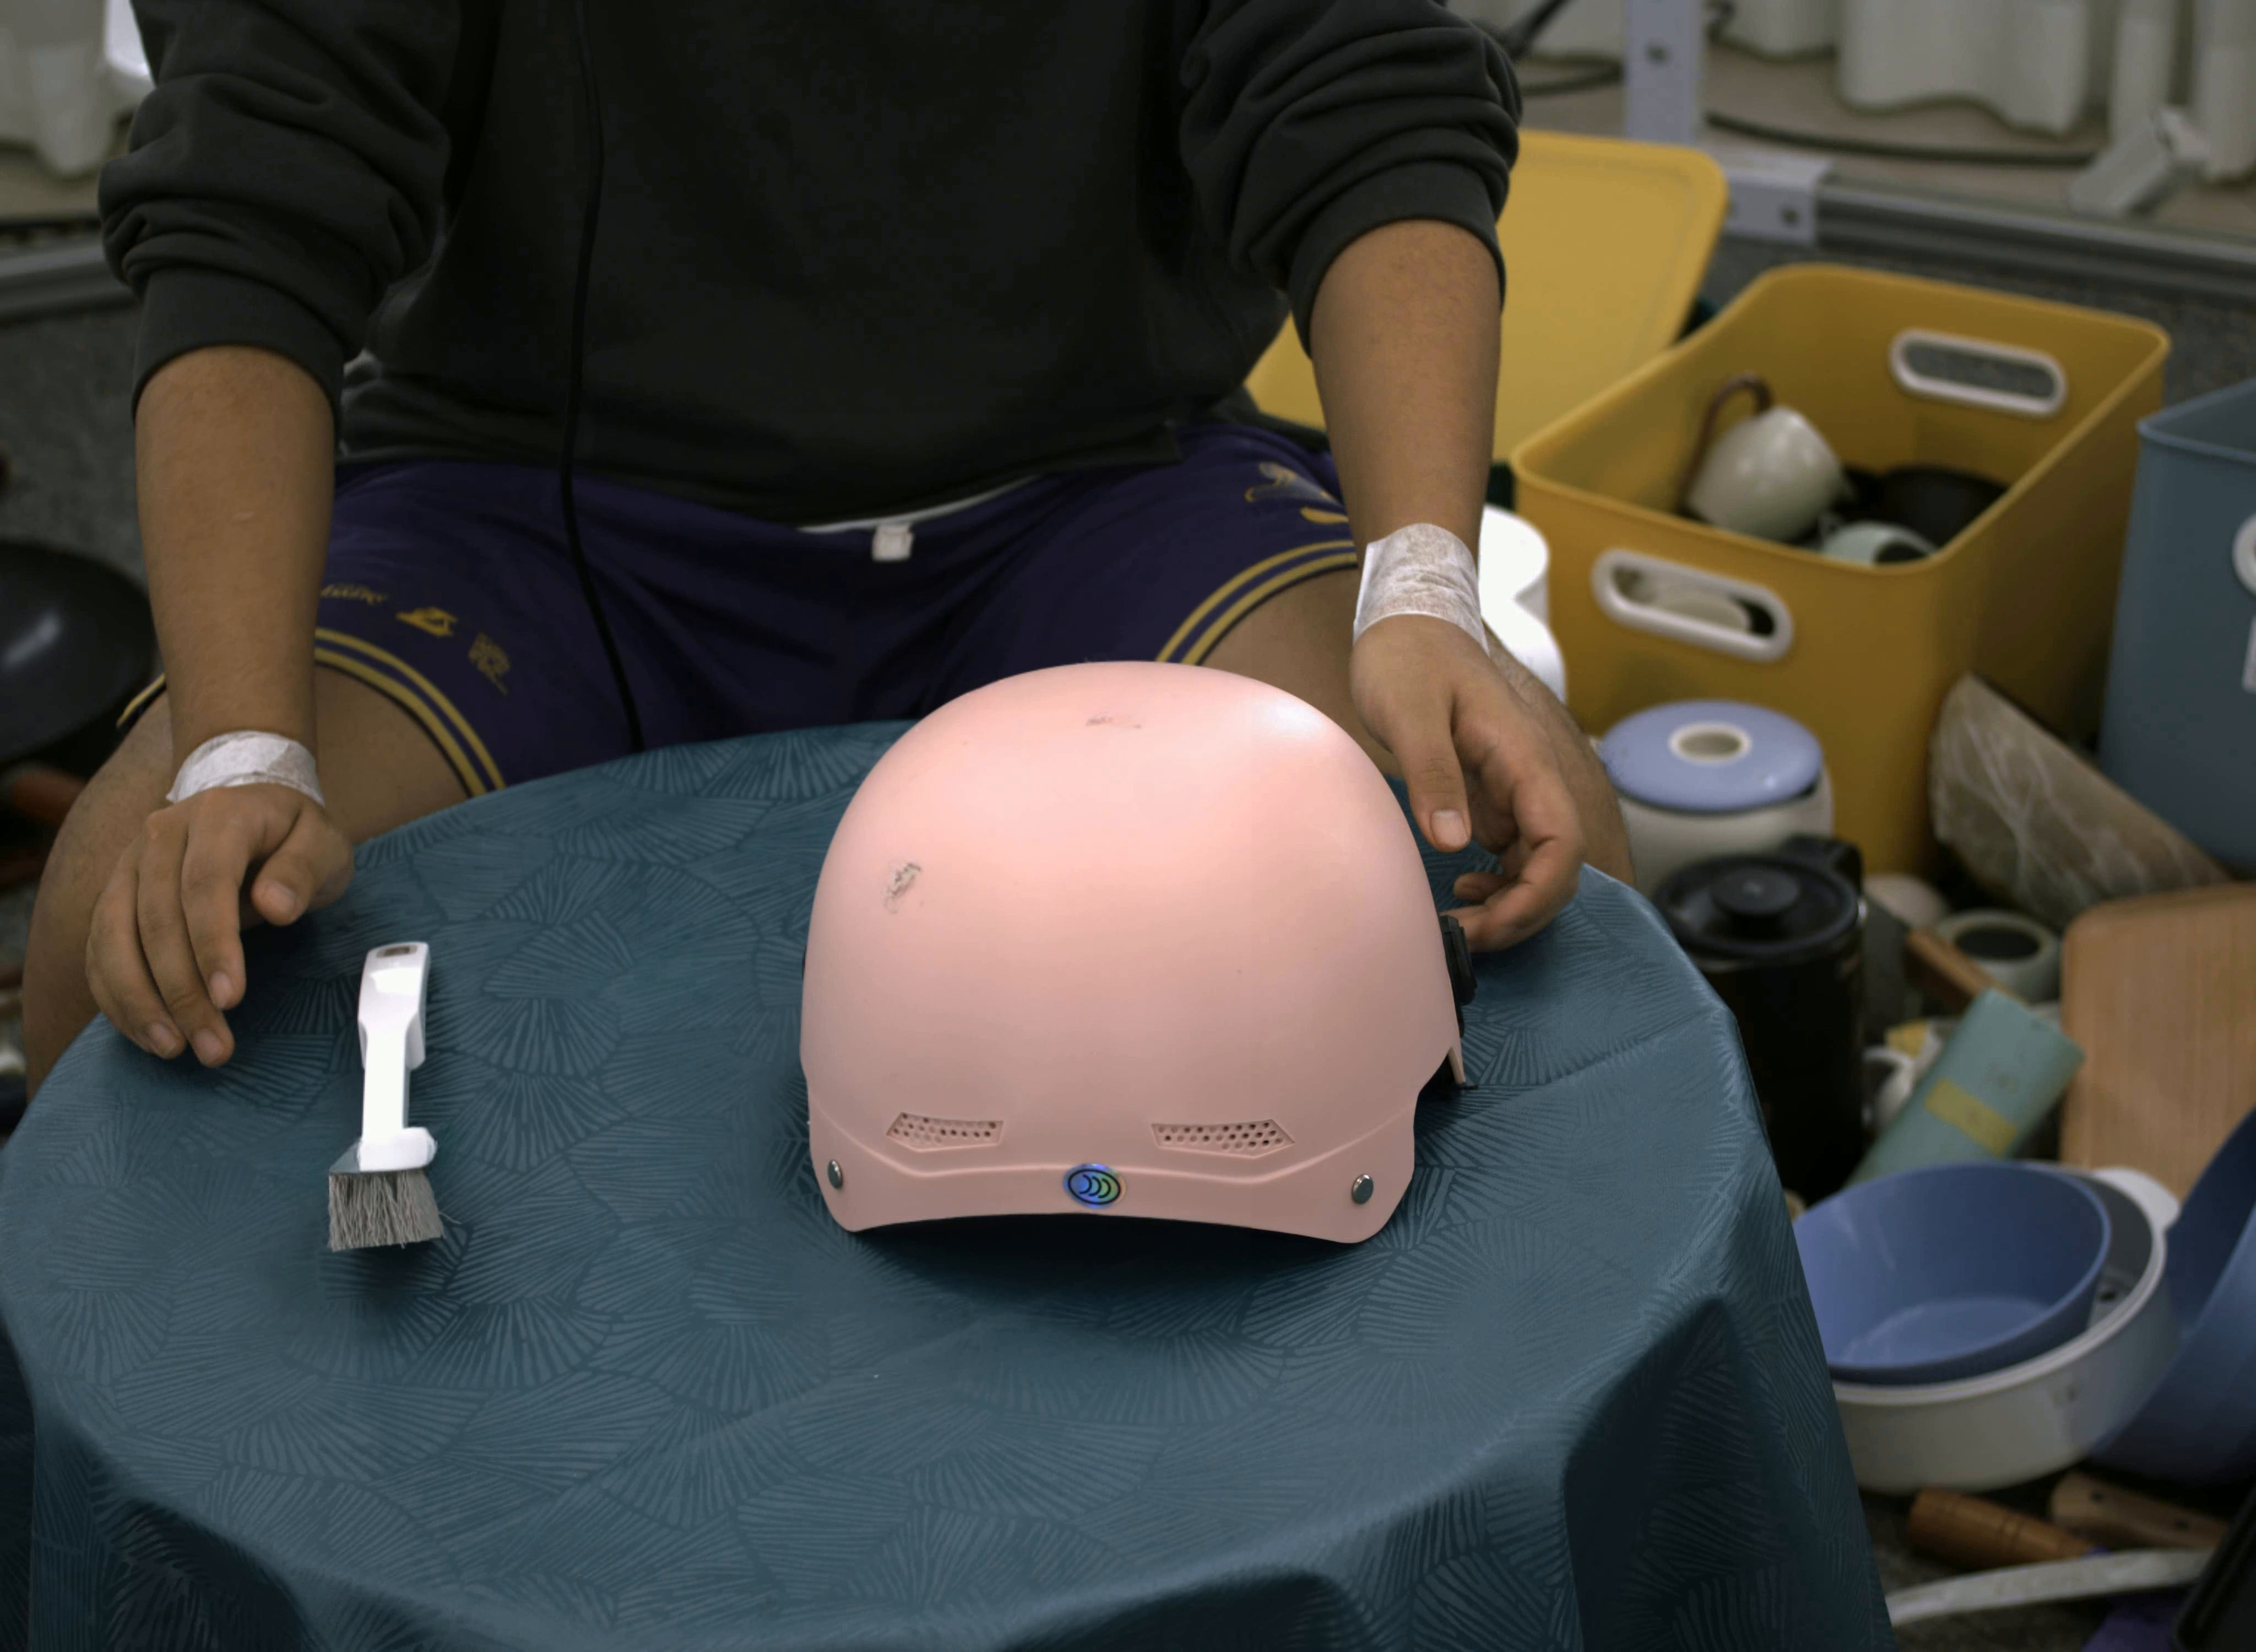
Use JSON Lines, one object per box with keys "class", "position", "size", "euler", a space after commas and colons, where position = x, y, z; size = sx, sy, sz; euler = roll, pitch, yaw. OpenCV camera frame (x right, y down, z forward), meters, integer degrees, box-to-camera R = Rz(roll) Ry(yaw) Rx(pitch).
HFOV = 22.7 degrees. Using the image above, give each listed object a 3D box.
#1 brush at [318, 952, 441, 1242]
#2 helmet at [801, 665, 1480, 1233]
{"class": "brush", "position": [-0.252, 0.095, 1.914], "size": [0.034, 0.050, 0.245], "euler": [-9, 14, -4]}
{"class": "helmet", "position": [-0.001, 0.024, 1.889], "size": [0.232, 0.157, 0.270], "euler": [0, 23, 7]}
